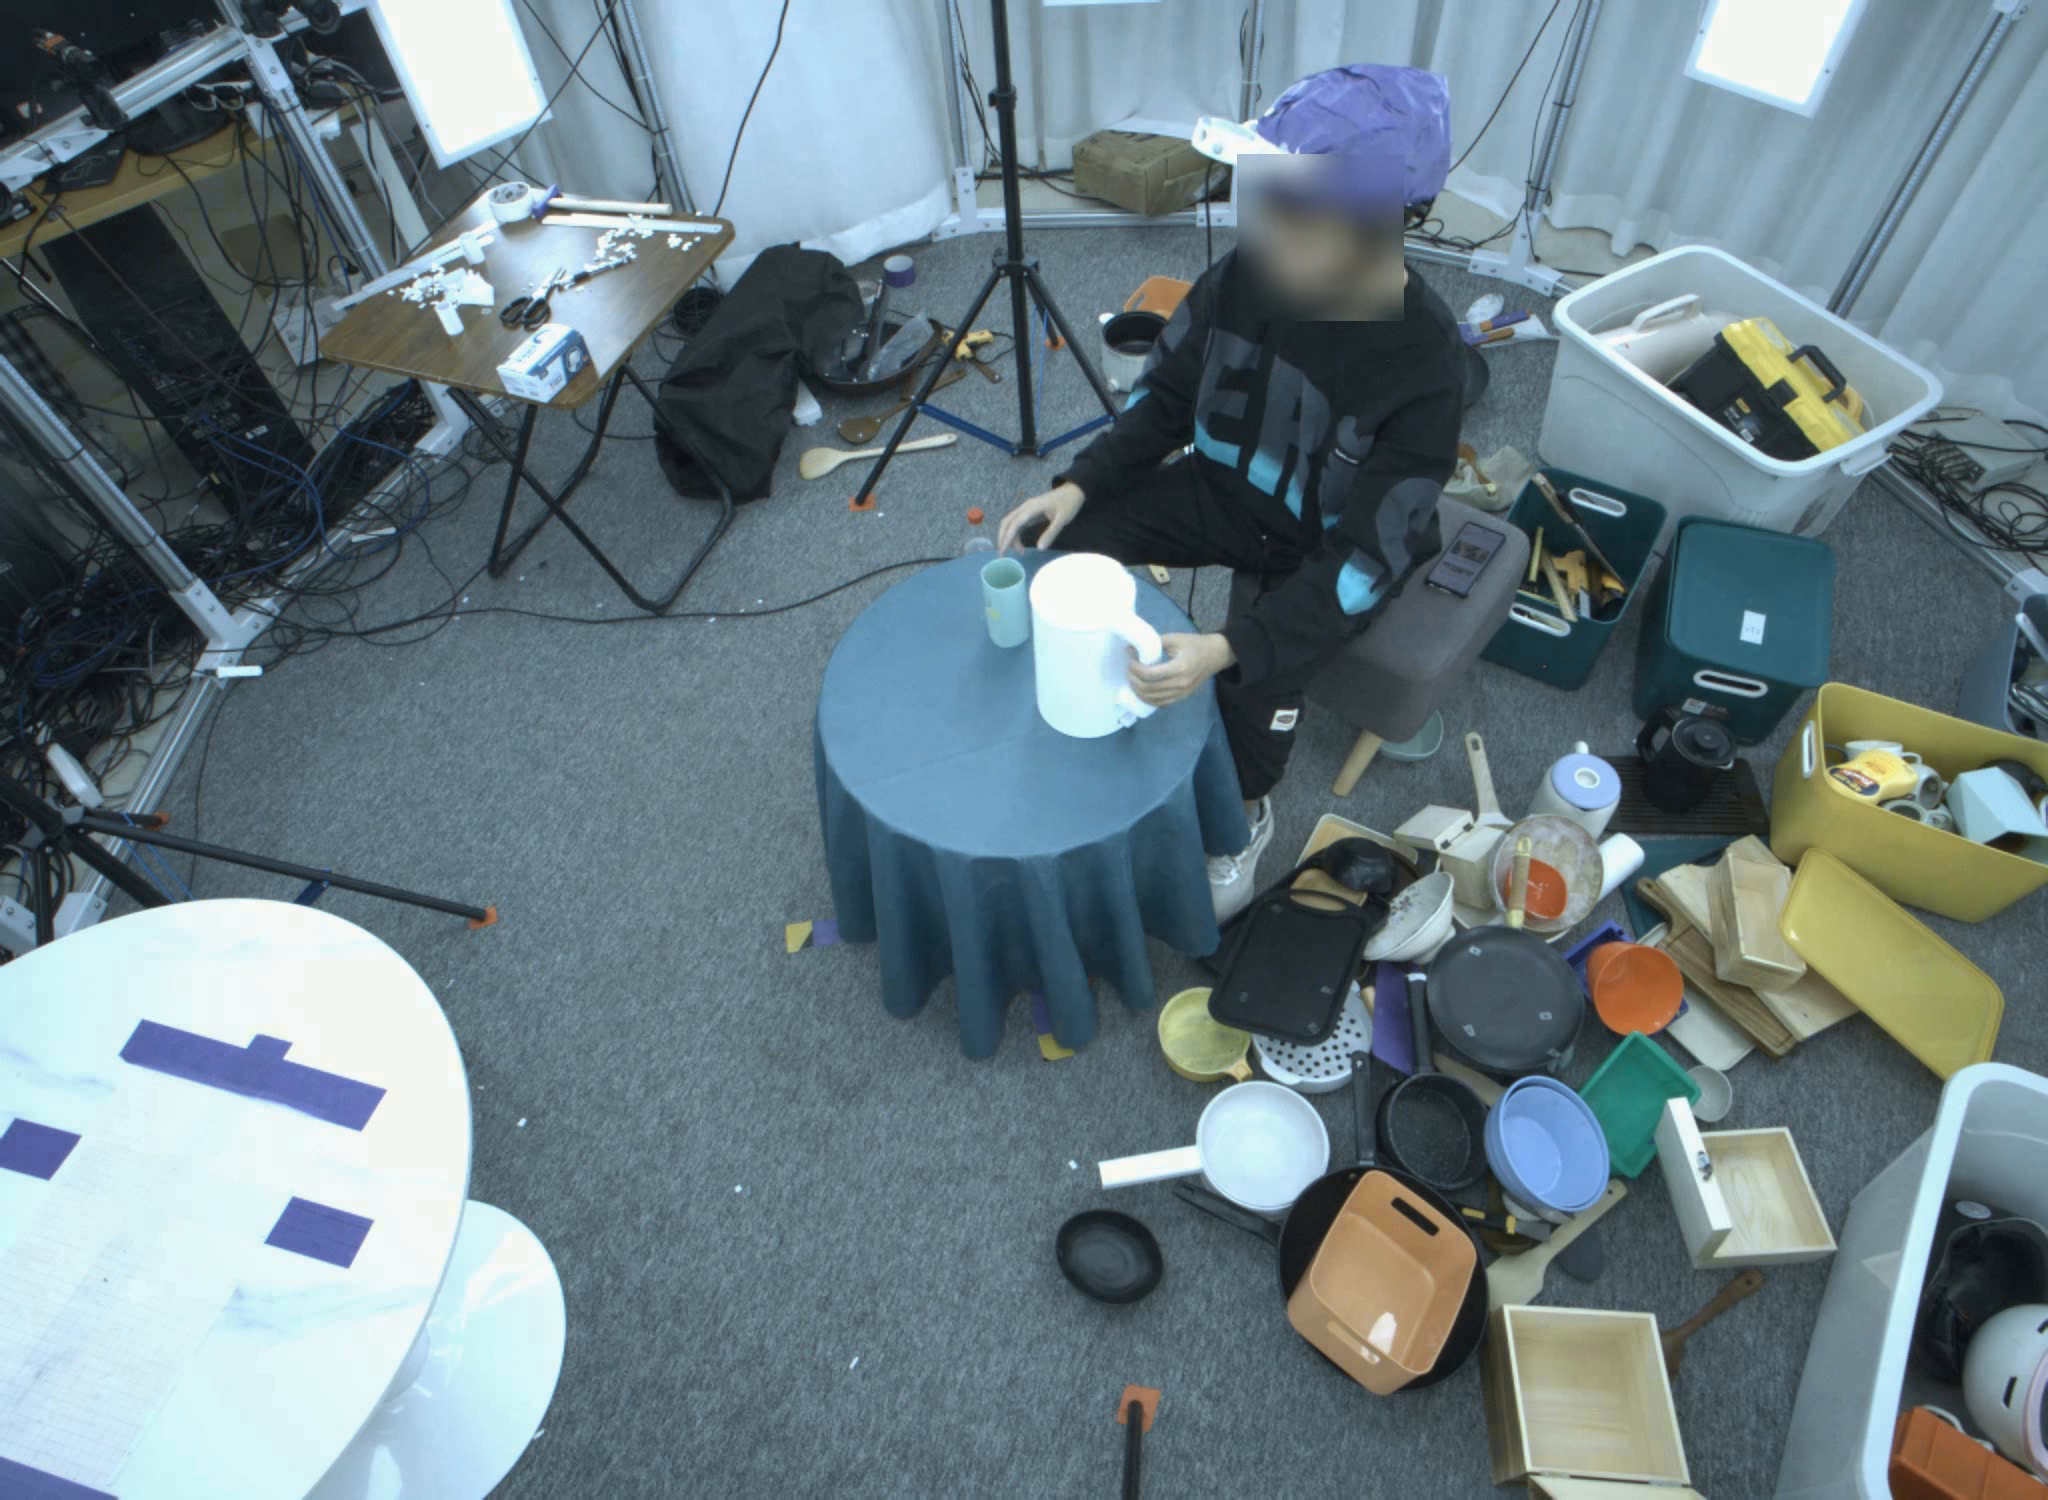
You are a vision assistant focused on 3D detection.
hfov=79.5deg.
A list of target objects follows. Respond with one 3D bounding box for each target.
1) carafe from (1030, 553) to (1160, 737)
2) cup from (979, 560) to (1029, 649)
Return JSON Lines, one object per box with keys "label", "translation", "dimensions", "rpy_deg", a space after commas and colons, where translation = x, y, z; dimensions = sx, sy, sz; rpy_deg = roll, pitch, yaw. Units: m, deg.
{"label": "carafe", "translation": [0.103, -0.131, 1.729], "dimensions": [0.153, 0.243, 0.209], "rpy_deg": [-40, 61, -21]}
{"label": "cup", "translation": [-0.028, -0.220, 1.864], "dimensions": [0.066, 0.134, 0.066], "rpy_deg": [-2, 54, 4]}
